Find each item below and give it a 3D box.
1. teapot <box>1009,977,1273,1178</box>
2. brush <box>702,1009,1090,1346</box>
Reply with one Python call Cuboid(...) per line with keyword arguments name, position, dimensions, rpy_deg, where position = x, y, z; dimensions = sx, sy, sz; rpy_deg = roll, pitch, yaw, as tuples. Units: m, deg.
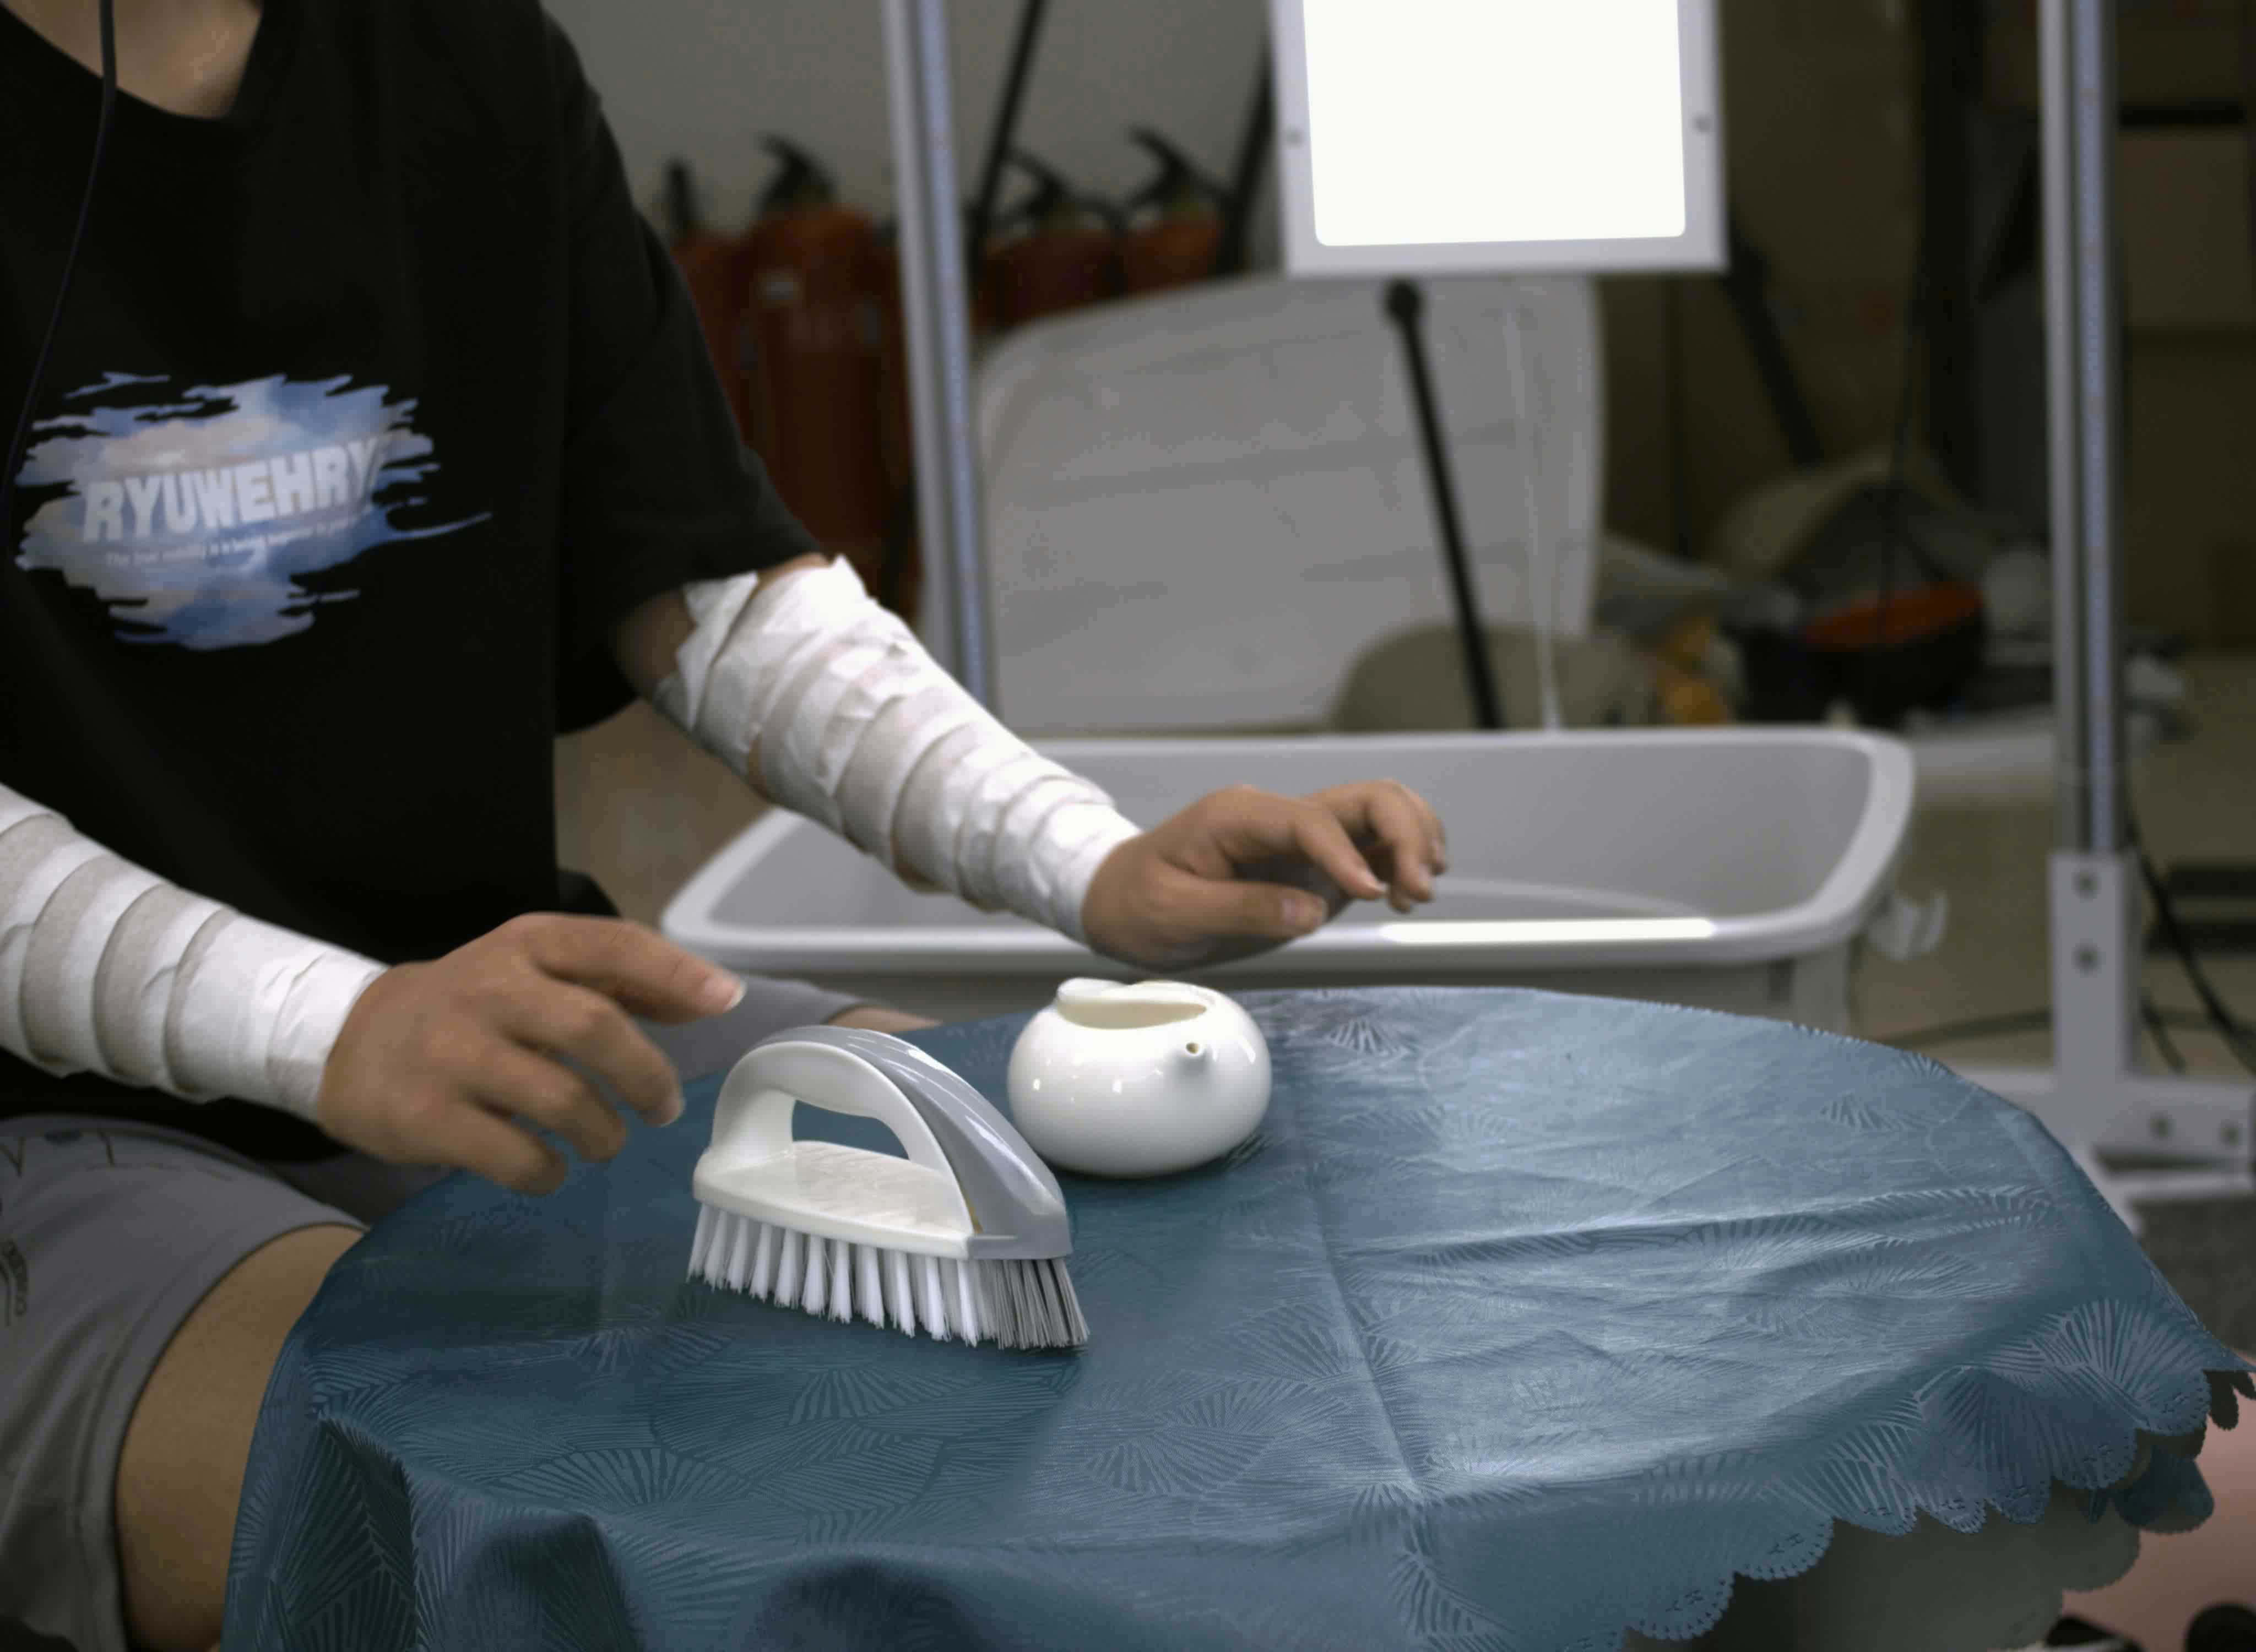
Cuboid(name="teapot", position=(0.000, 0.087, 1.944), dimensions=(0.091, 0.057, 0.129), rpy_deg=(-16, 15, -24))
Cuboid(name="brush", position=(-0.074, 0.111, 1.795), dimensions=(0.060, 0.094, 0.179), rpy_deg=(-18, 20, -36))
